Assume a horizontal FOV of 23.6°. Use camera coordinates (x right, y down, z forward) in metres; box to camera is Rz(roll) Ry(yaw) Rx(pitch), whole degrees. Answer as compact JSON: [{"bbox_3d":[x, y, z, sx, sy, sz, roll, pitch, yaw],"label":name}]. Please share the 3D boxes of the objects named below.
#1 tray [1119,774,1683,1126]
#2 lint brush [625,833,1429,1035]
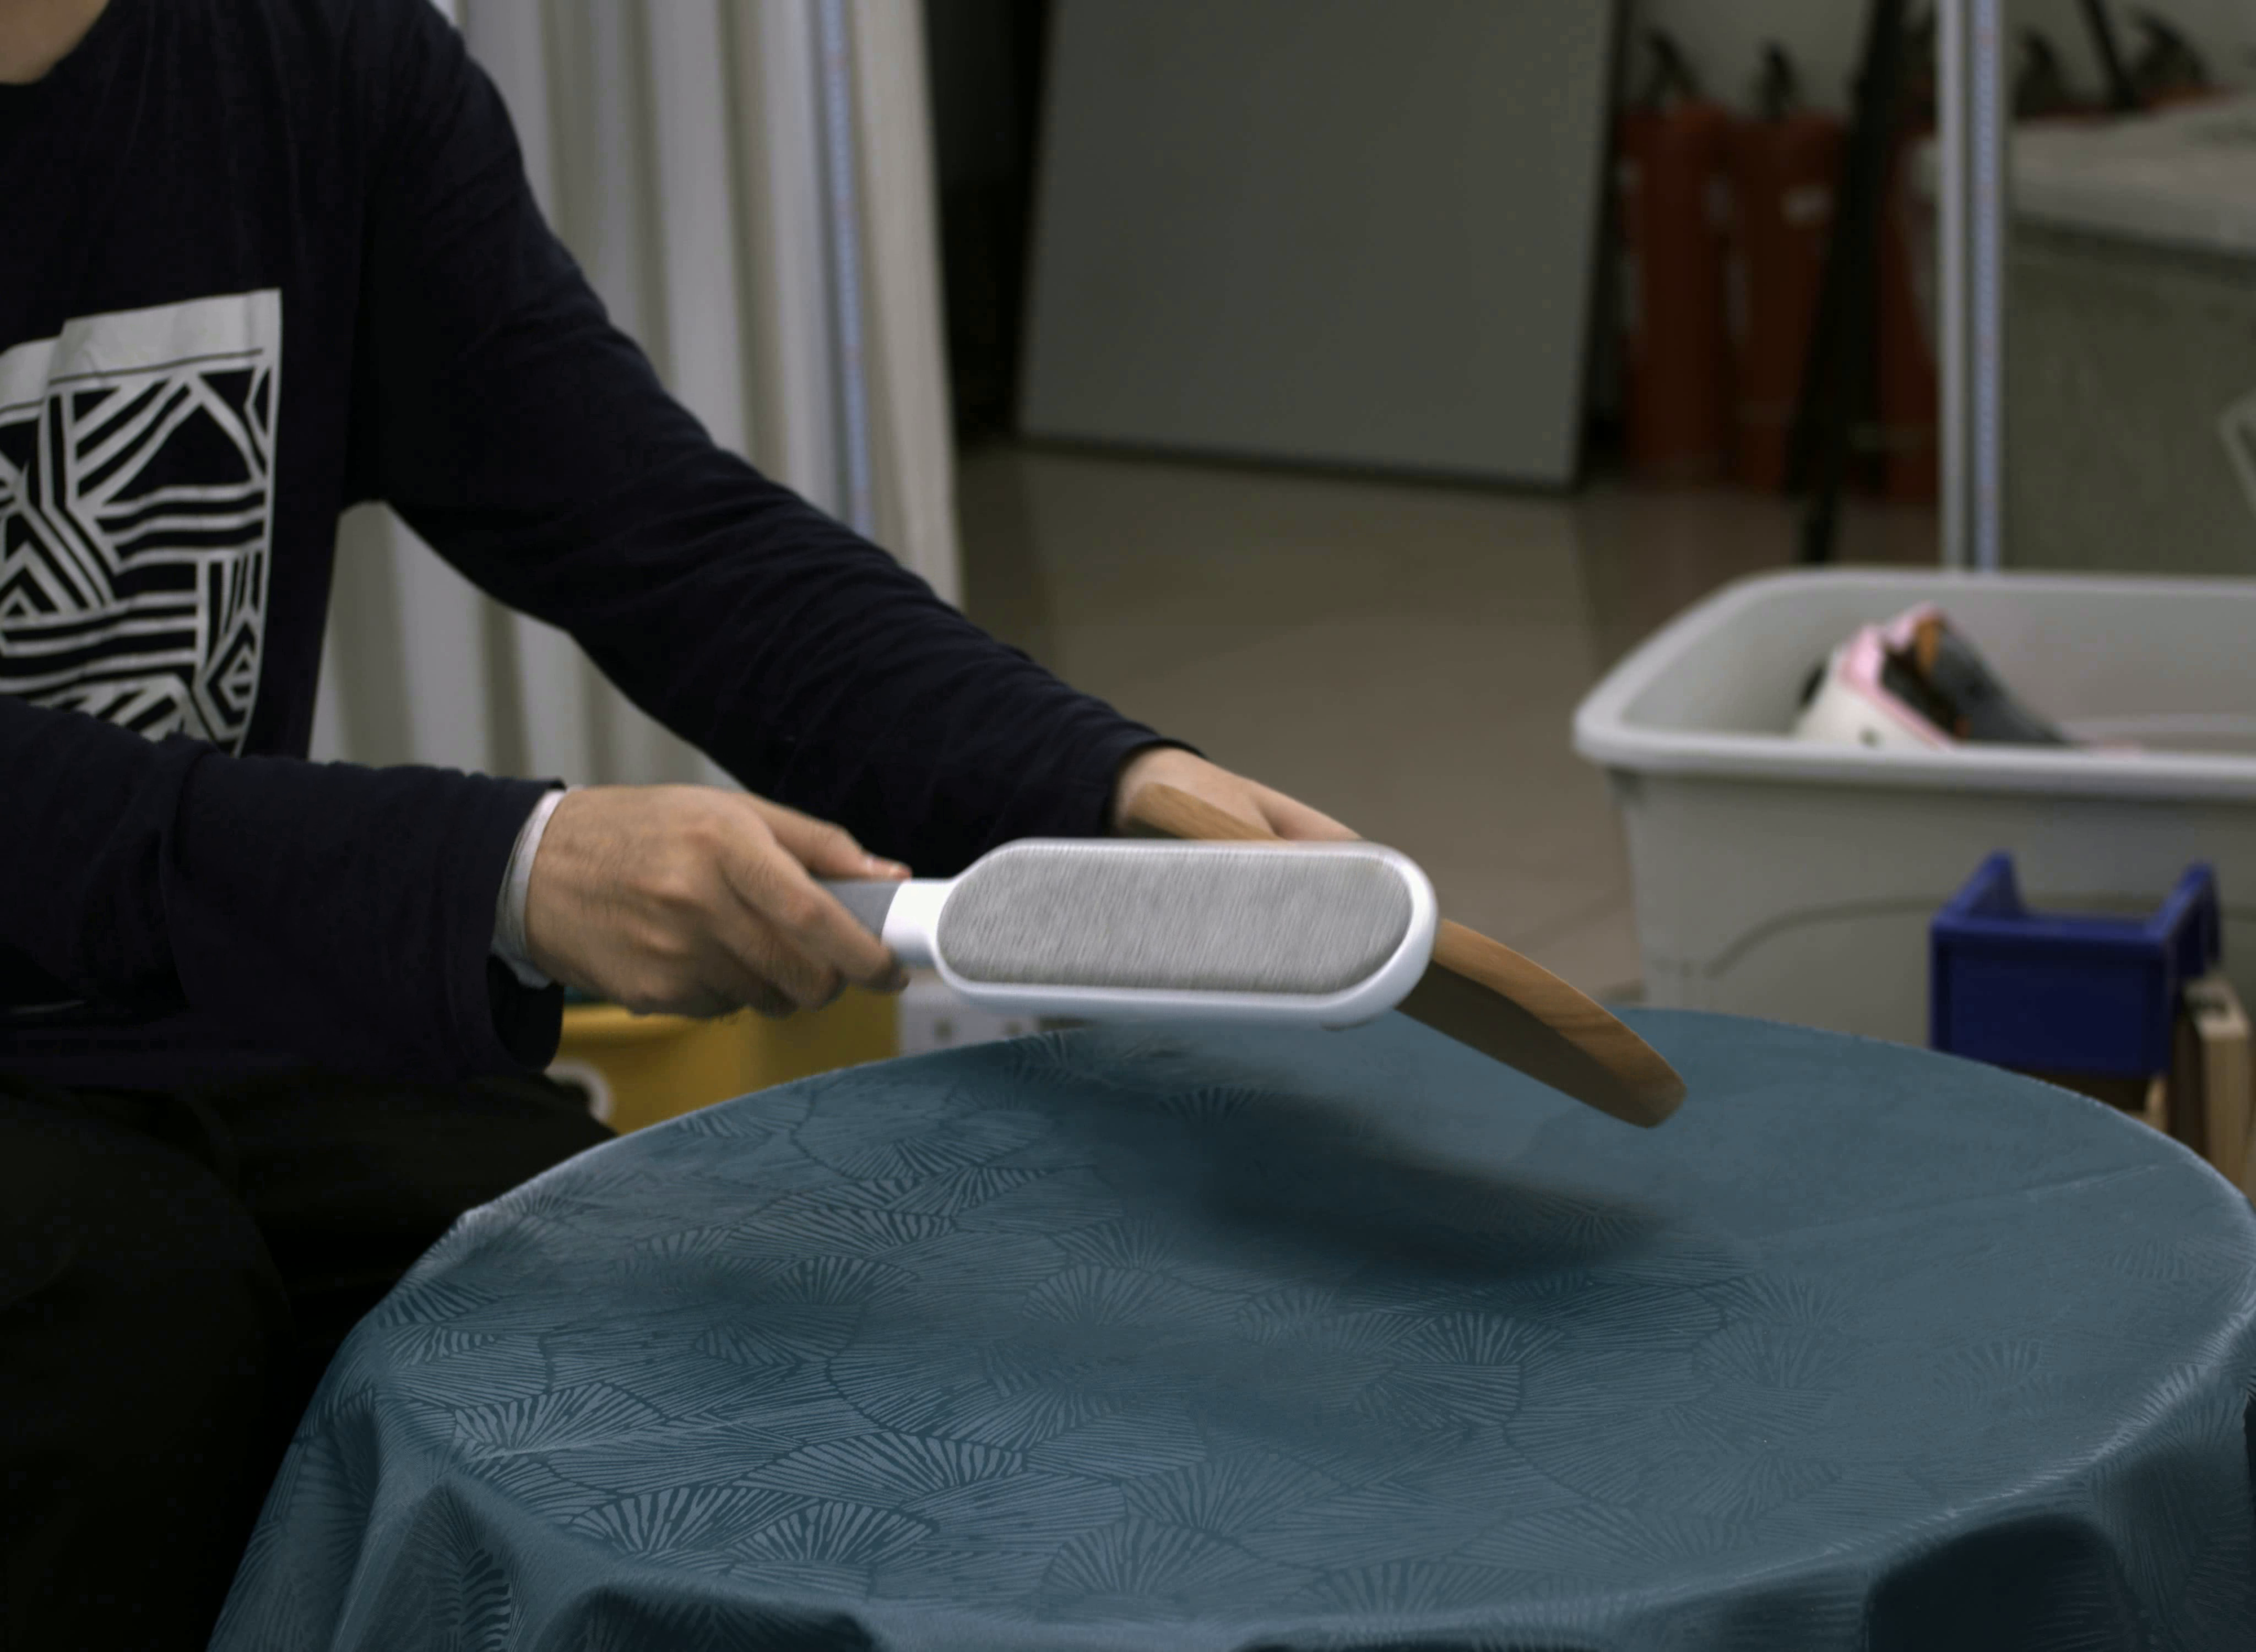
[{"bbox_3d":[0.085,0.040,1.745,0.233,0.020,0.100,24,-16,40],"label":"tray"},{"bbox_3d":[-0.038,0.031,1.668,0.311,0.060,0.020,1,-25,38],"label":"lint brush"}]
